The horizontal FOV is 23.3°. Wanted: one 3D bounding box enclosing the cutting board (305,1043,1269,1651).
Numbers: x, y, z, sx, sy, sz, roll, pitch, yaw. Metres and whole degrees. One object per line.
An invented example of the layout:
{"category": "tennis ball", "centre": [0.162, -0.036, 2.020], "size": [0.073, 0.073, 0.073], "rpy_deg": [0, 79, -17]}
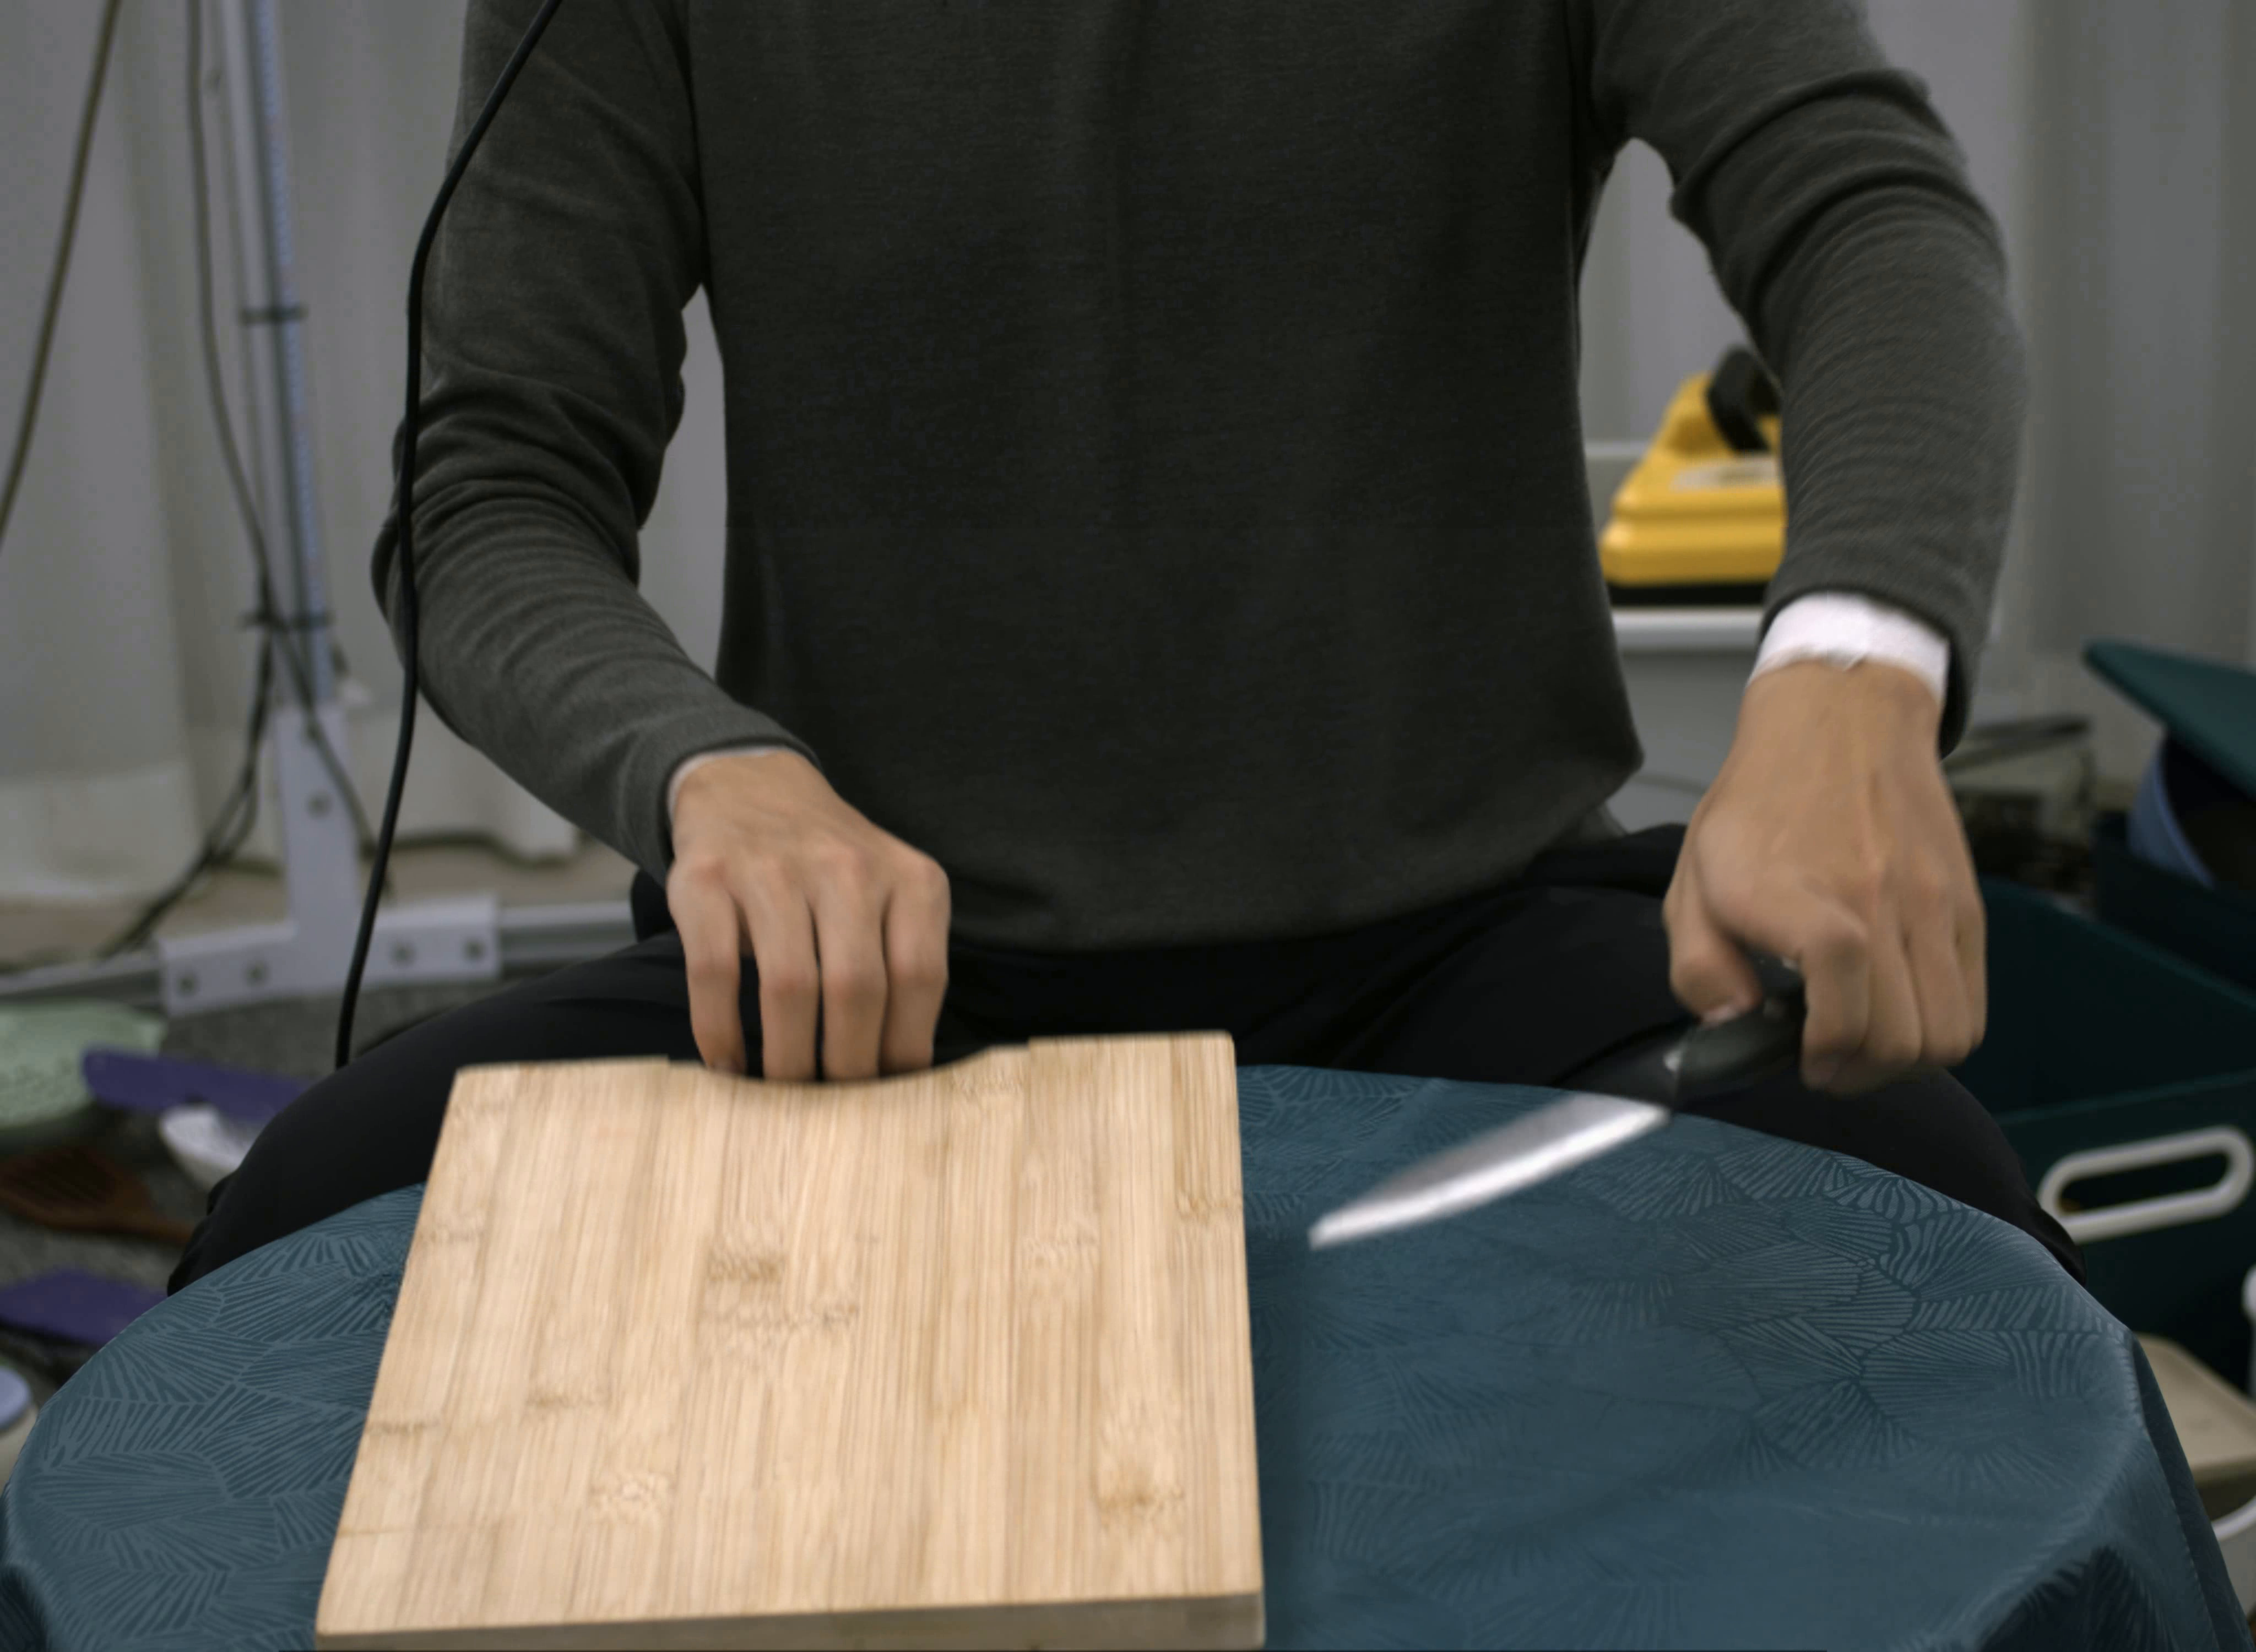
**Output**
{"category": "cutting board", "centre": [-0.084, 0.142, 1.527], "size": [0.250, 0.023, 0.352], "rpy_deg": [-2, 21, 0]}

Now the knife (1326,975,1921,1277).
{"category": "knife", "centre": [0.133, 0.080, 1.469], "size": [0.238, 0.016, 0.024], "rpy_deg": [-21, 34, -40]}
